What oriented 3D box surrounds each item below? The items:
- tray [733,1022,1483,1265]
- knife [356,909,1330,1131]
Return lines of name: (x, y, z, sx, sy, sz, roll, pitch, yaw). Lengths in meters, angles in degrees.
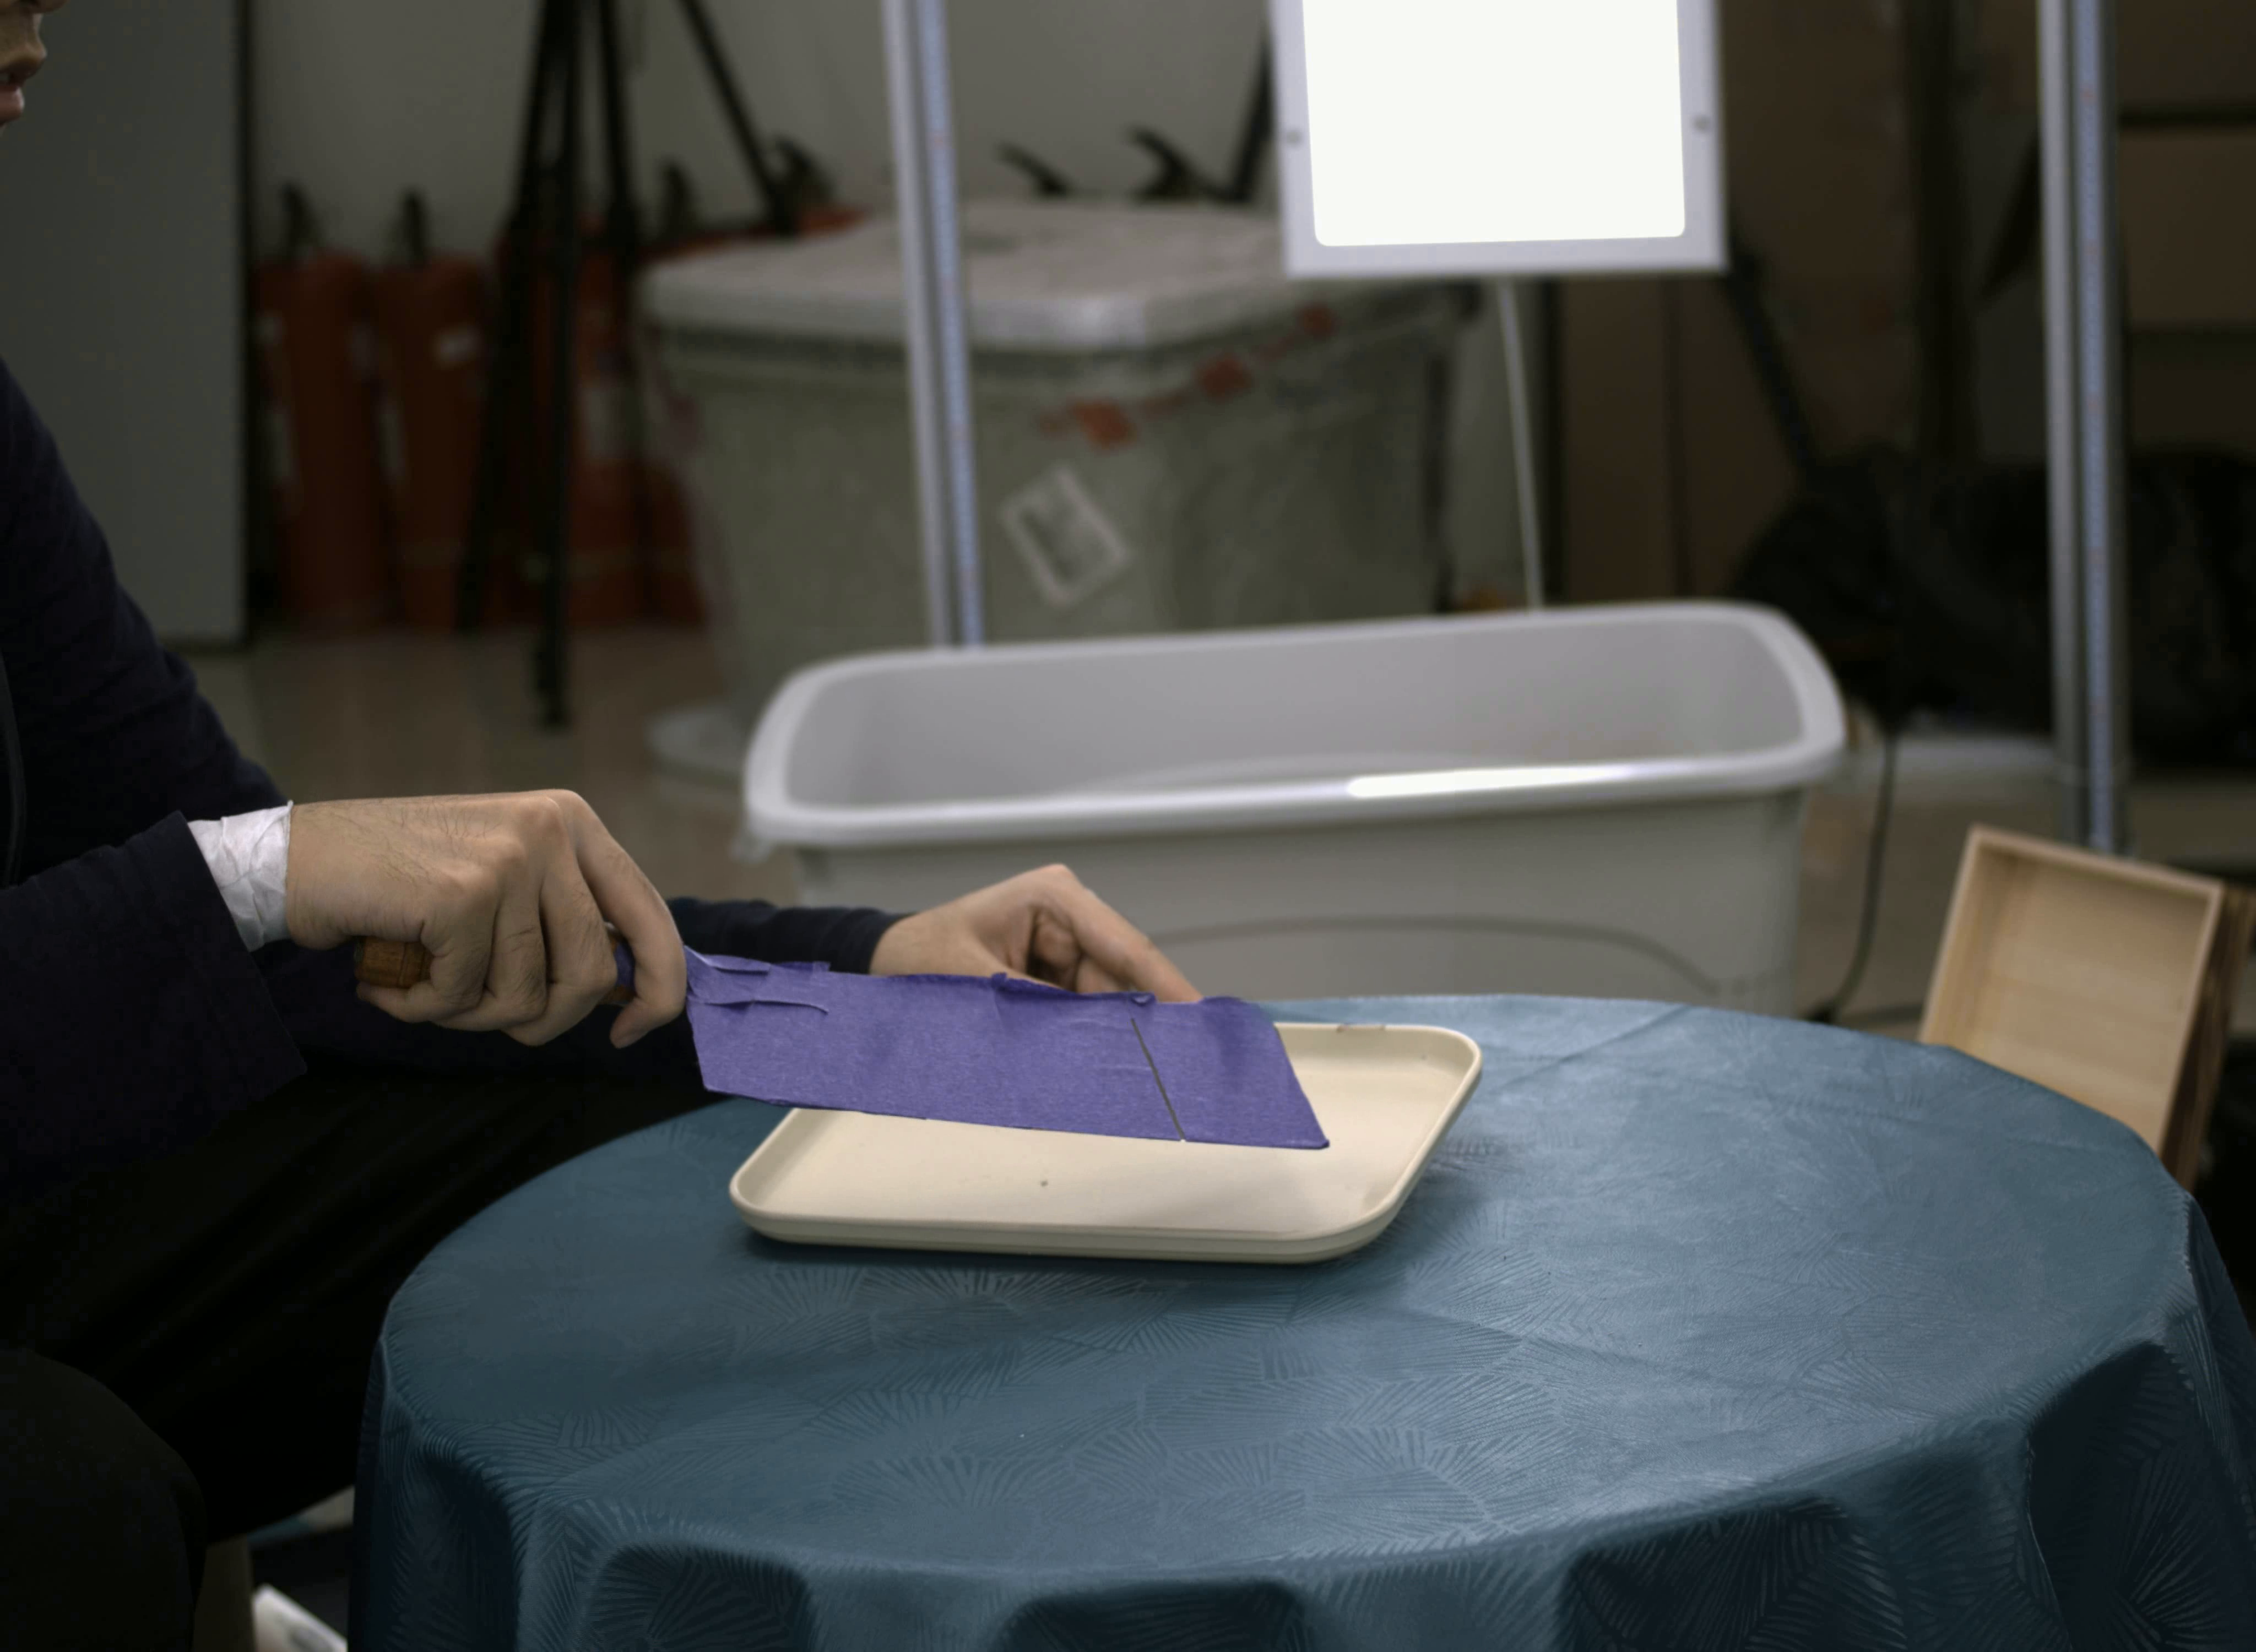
tray: (-0.005, 0.108, 1.904, 0.243, 0.017, 0.168, 0, 23, 22)
knife: (-0.090, 0.064, 1.782, 0.311, 0.032, 0.104, 4, 25, -11)
